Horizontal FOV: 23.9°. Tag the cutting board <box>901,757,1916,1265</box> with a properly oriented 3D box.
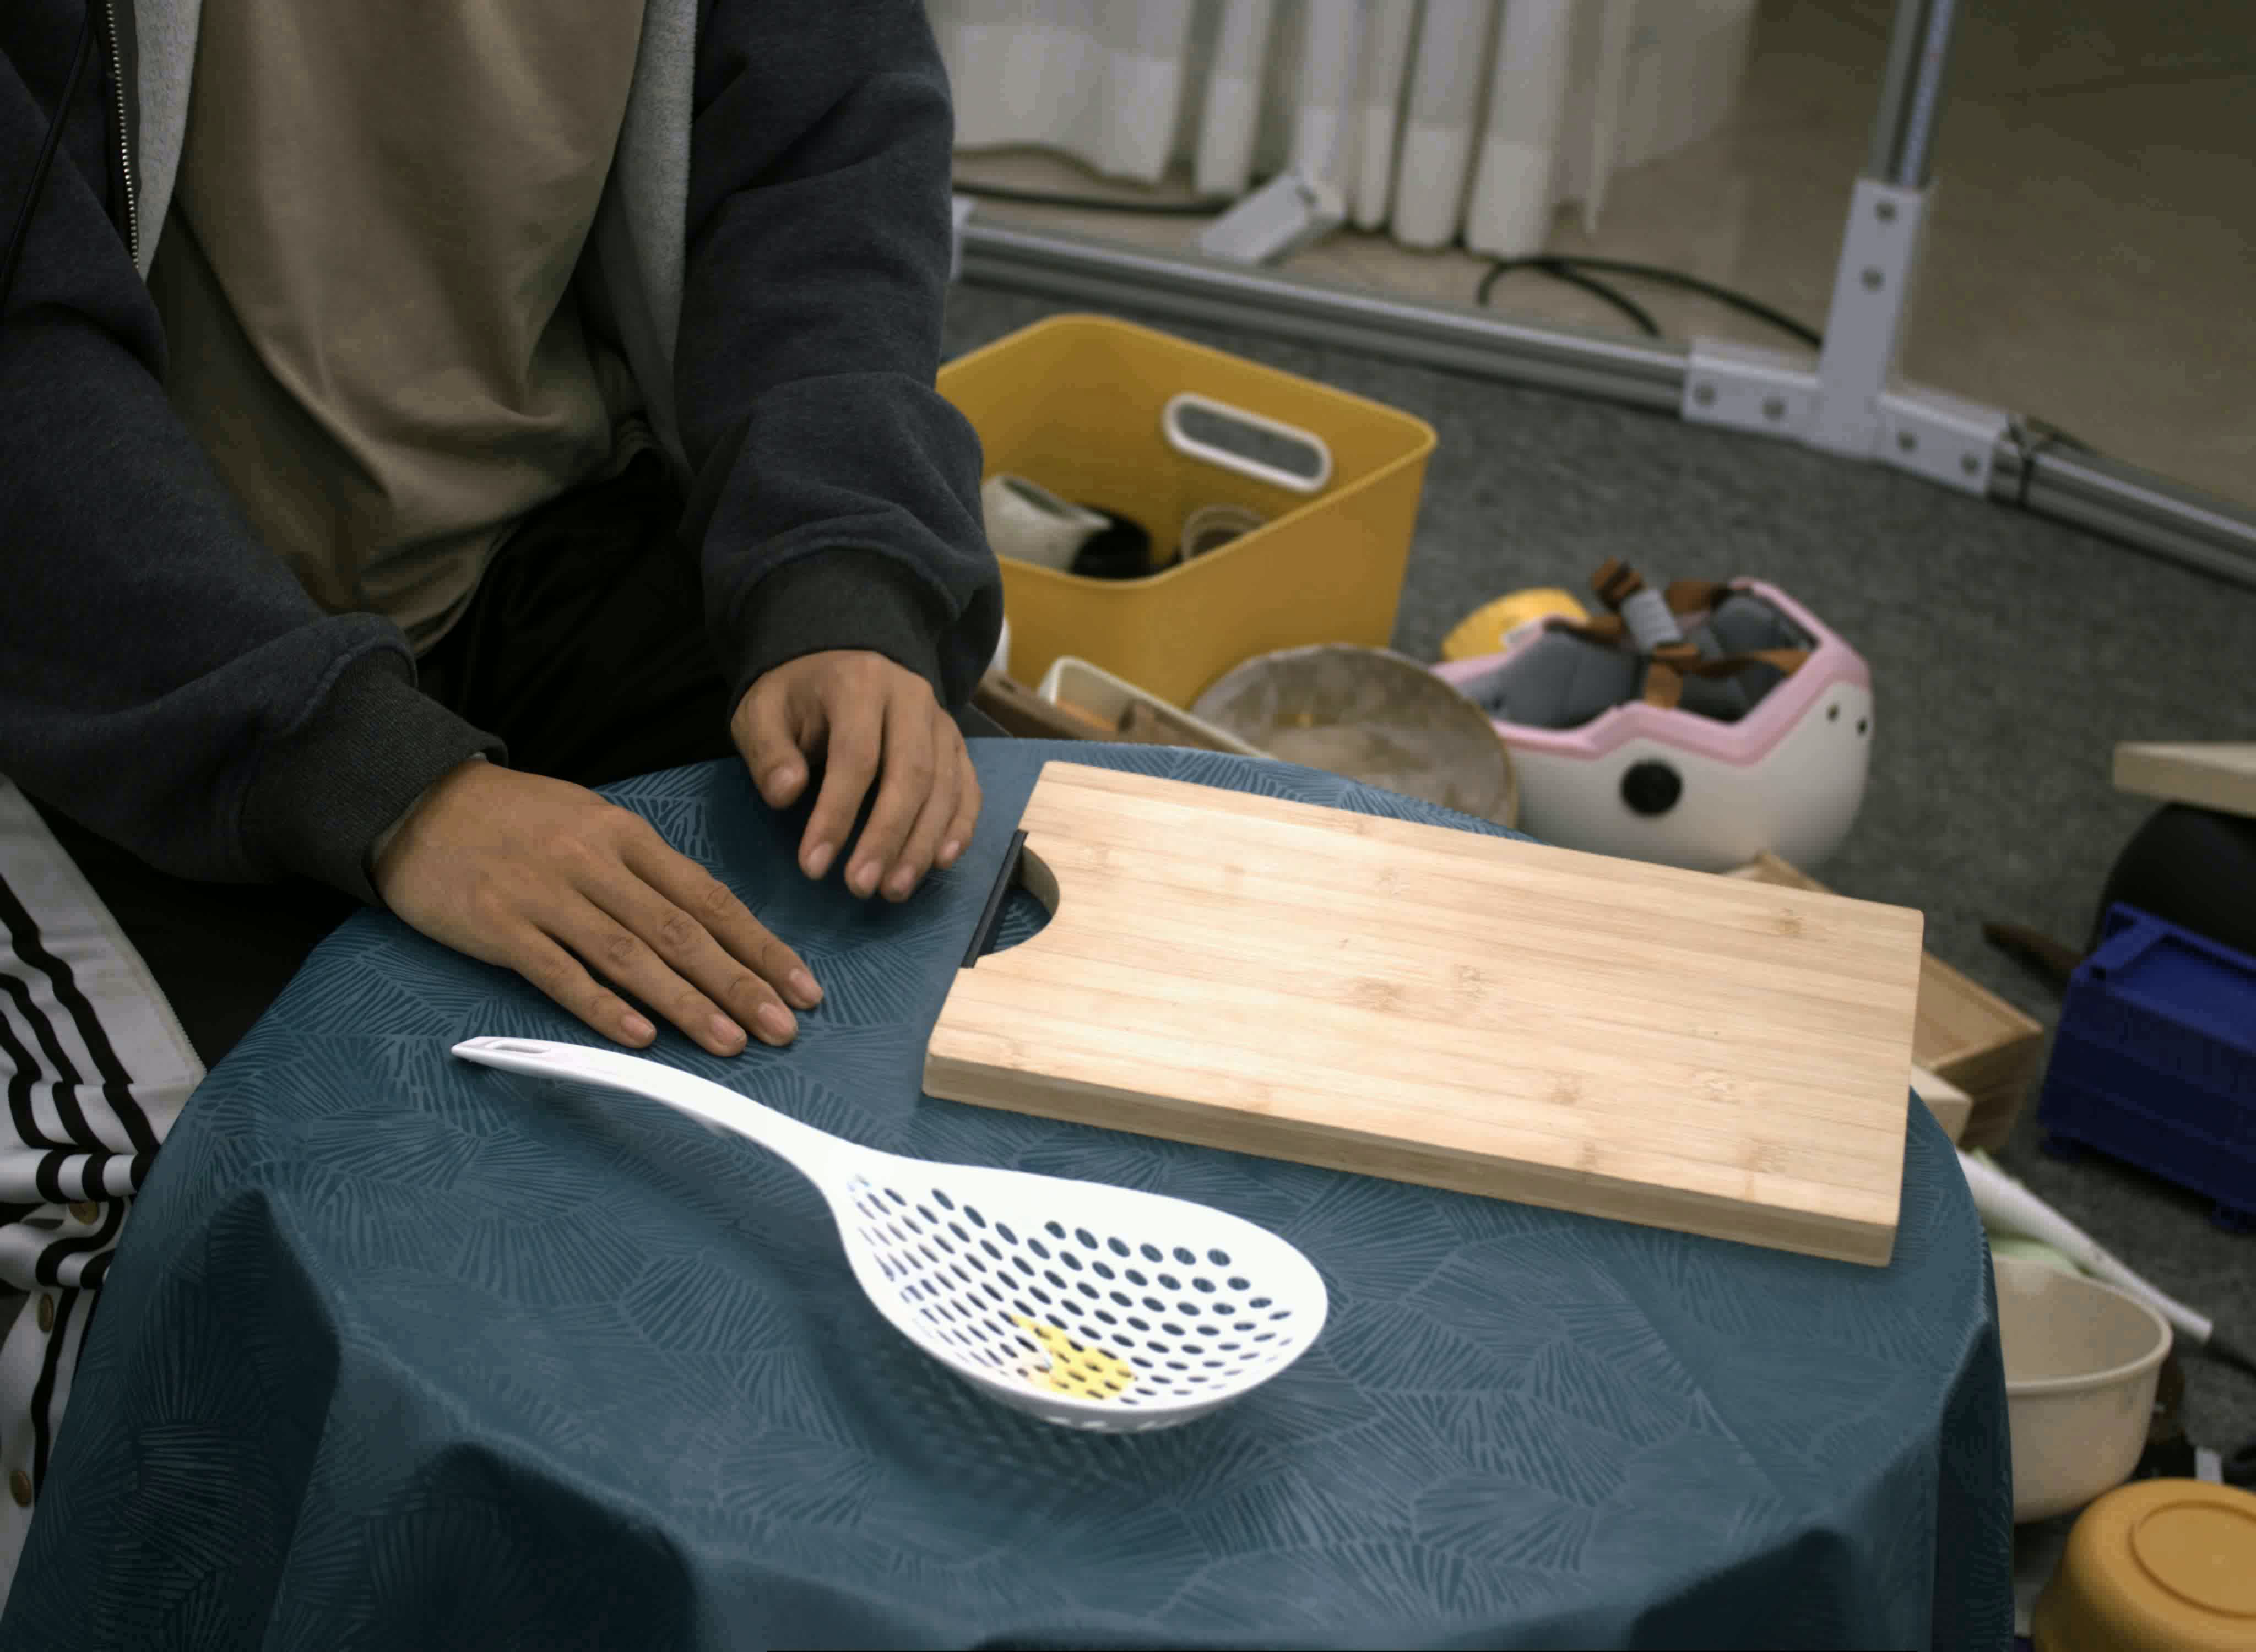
[{"bbox_3d":[0.109,0.062,1.928,0.348,0.023,0.251,9,27,6],"label":"cutting board"}]

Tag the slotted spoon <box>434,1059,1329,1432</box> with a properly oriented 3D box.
[{"bbox_3d":[-0.093,0.123,1.737,0.350,0.050,0.136,25,34,31],"label":"slotted spoon"}]
